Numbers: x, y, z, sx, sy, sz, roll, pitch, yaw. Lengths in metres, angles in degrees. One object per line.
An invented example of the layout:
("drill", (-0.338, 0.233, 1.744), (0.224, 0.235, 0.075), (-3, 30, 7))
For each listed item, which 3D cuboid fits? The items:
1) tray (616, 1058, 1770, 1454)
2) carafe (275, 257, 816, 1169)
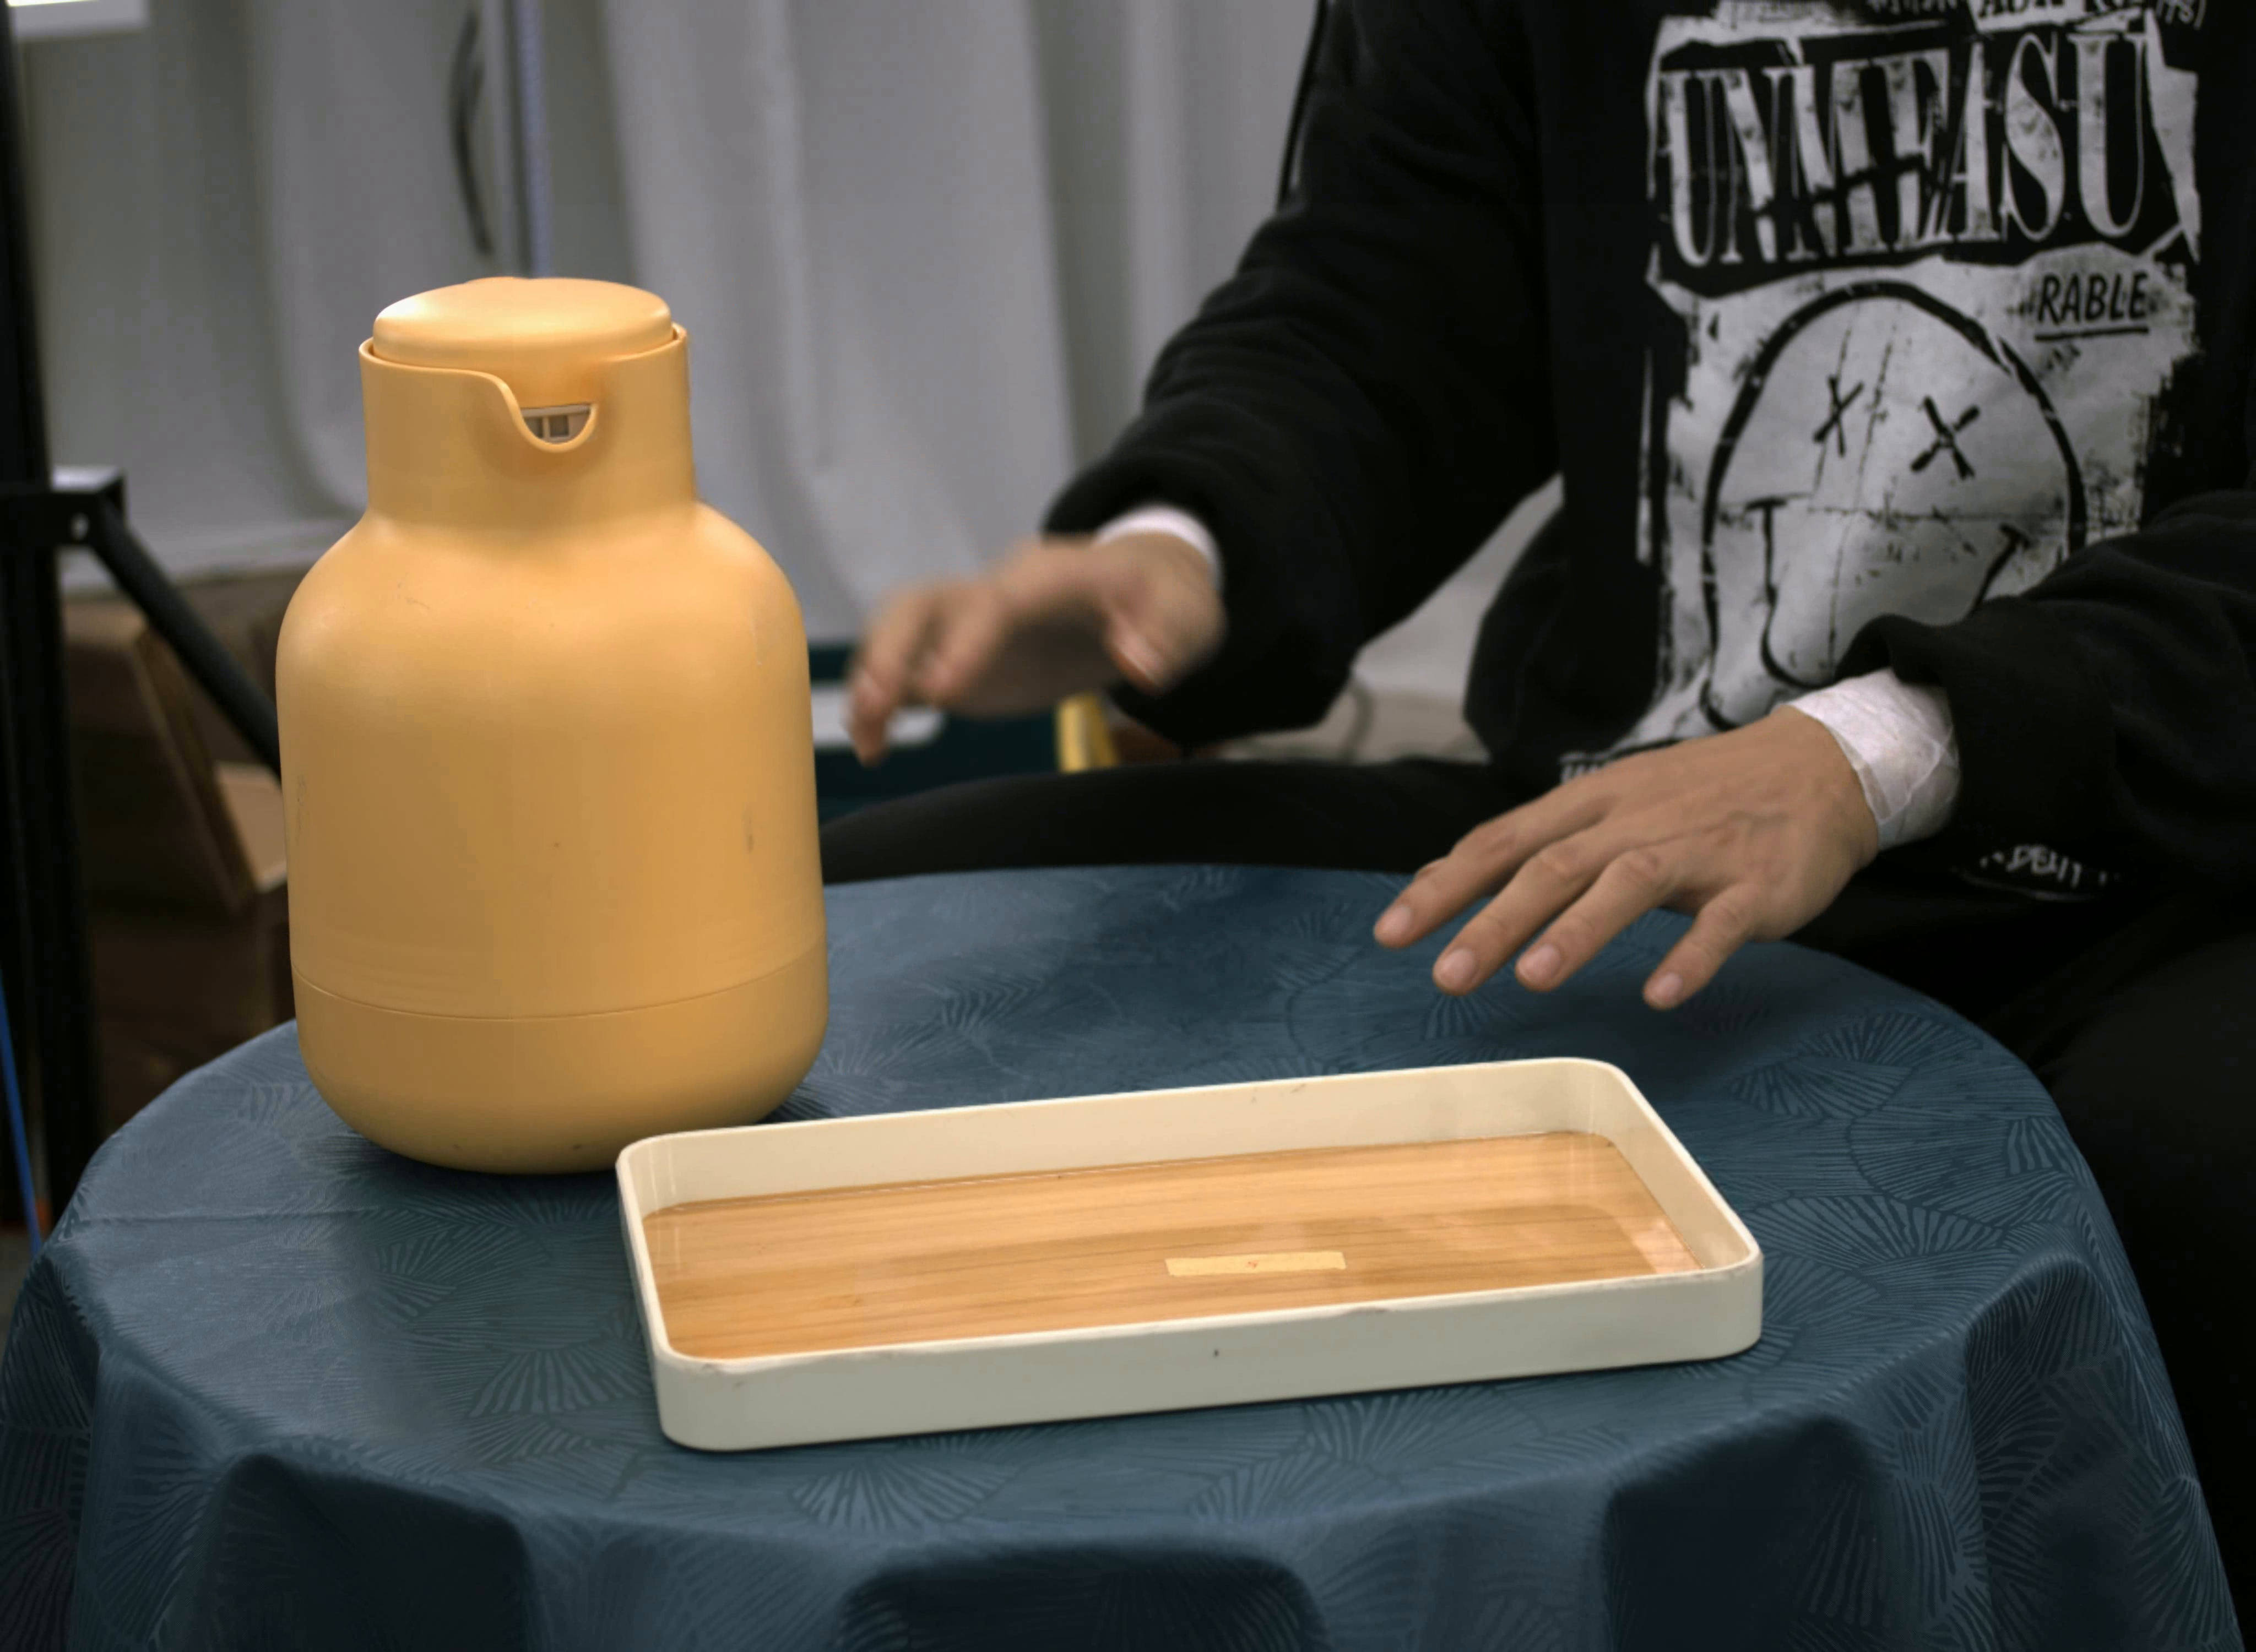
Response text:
("tray", (0.013, 0.117, 1.473), (0.297, 0.027, 0.193), (-4, 16, -6))
("carafe", (-0.179, -0.042, 1.633), (0.161, 0.260, 0.205), (-2, 17, -9))
